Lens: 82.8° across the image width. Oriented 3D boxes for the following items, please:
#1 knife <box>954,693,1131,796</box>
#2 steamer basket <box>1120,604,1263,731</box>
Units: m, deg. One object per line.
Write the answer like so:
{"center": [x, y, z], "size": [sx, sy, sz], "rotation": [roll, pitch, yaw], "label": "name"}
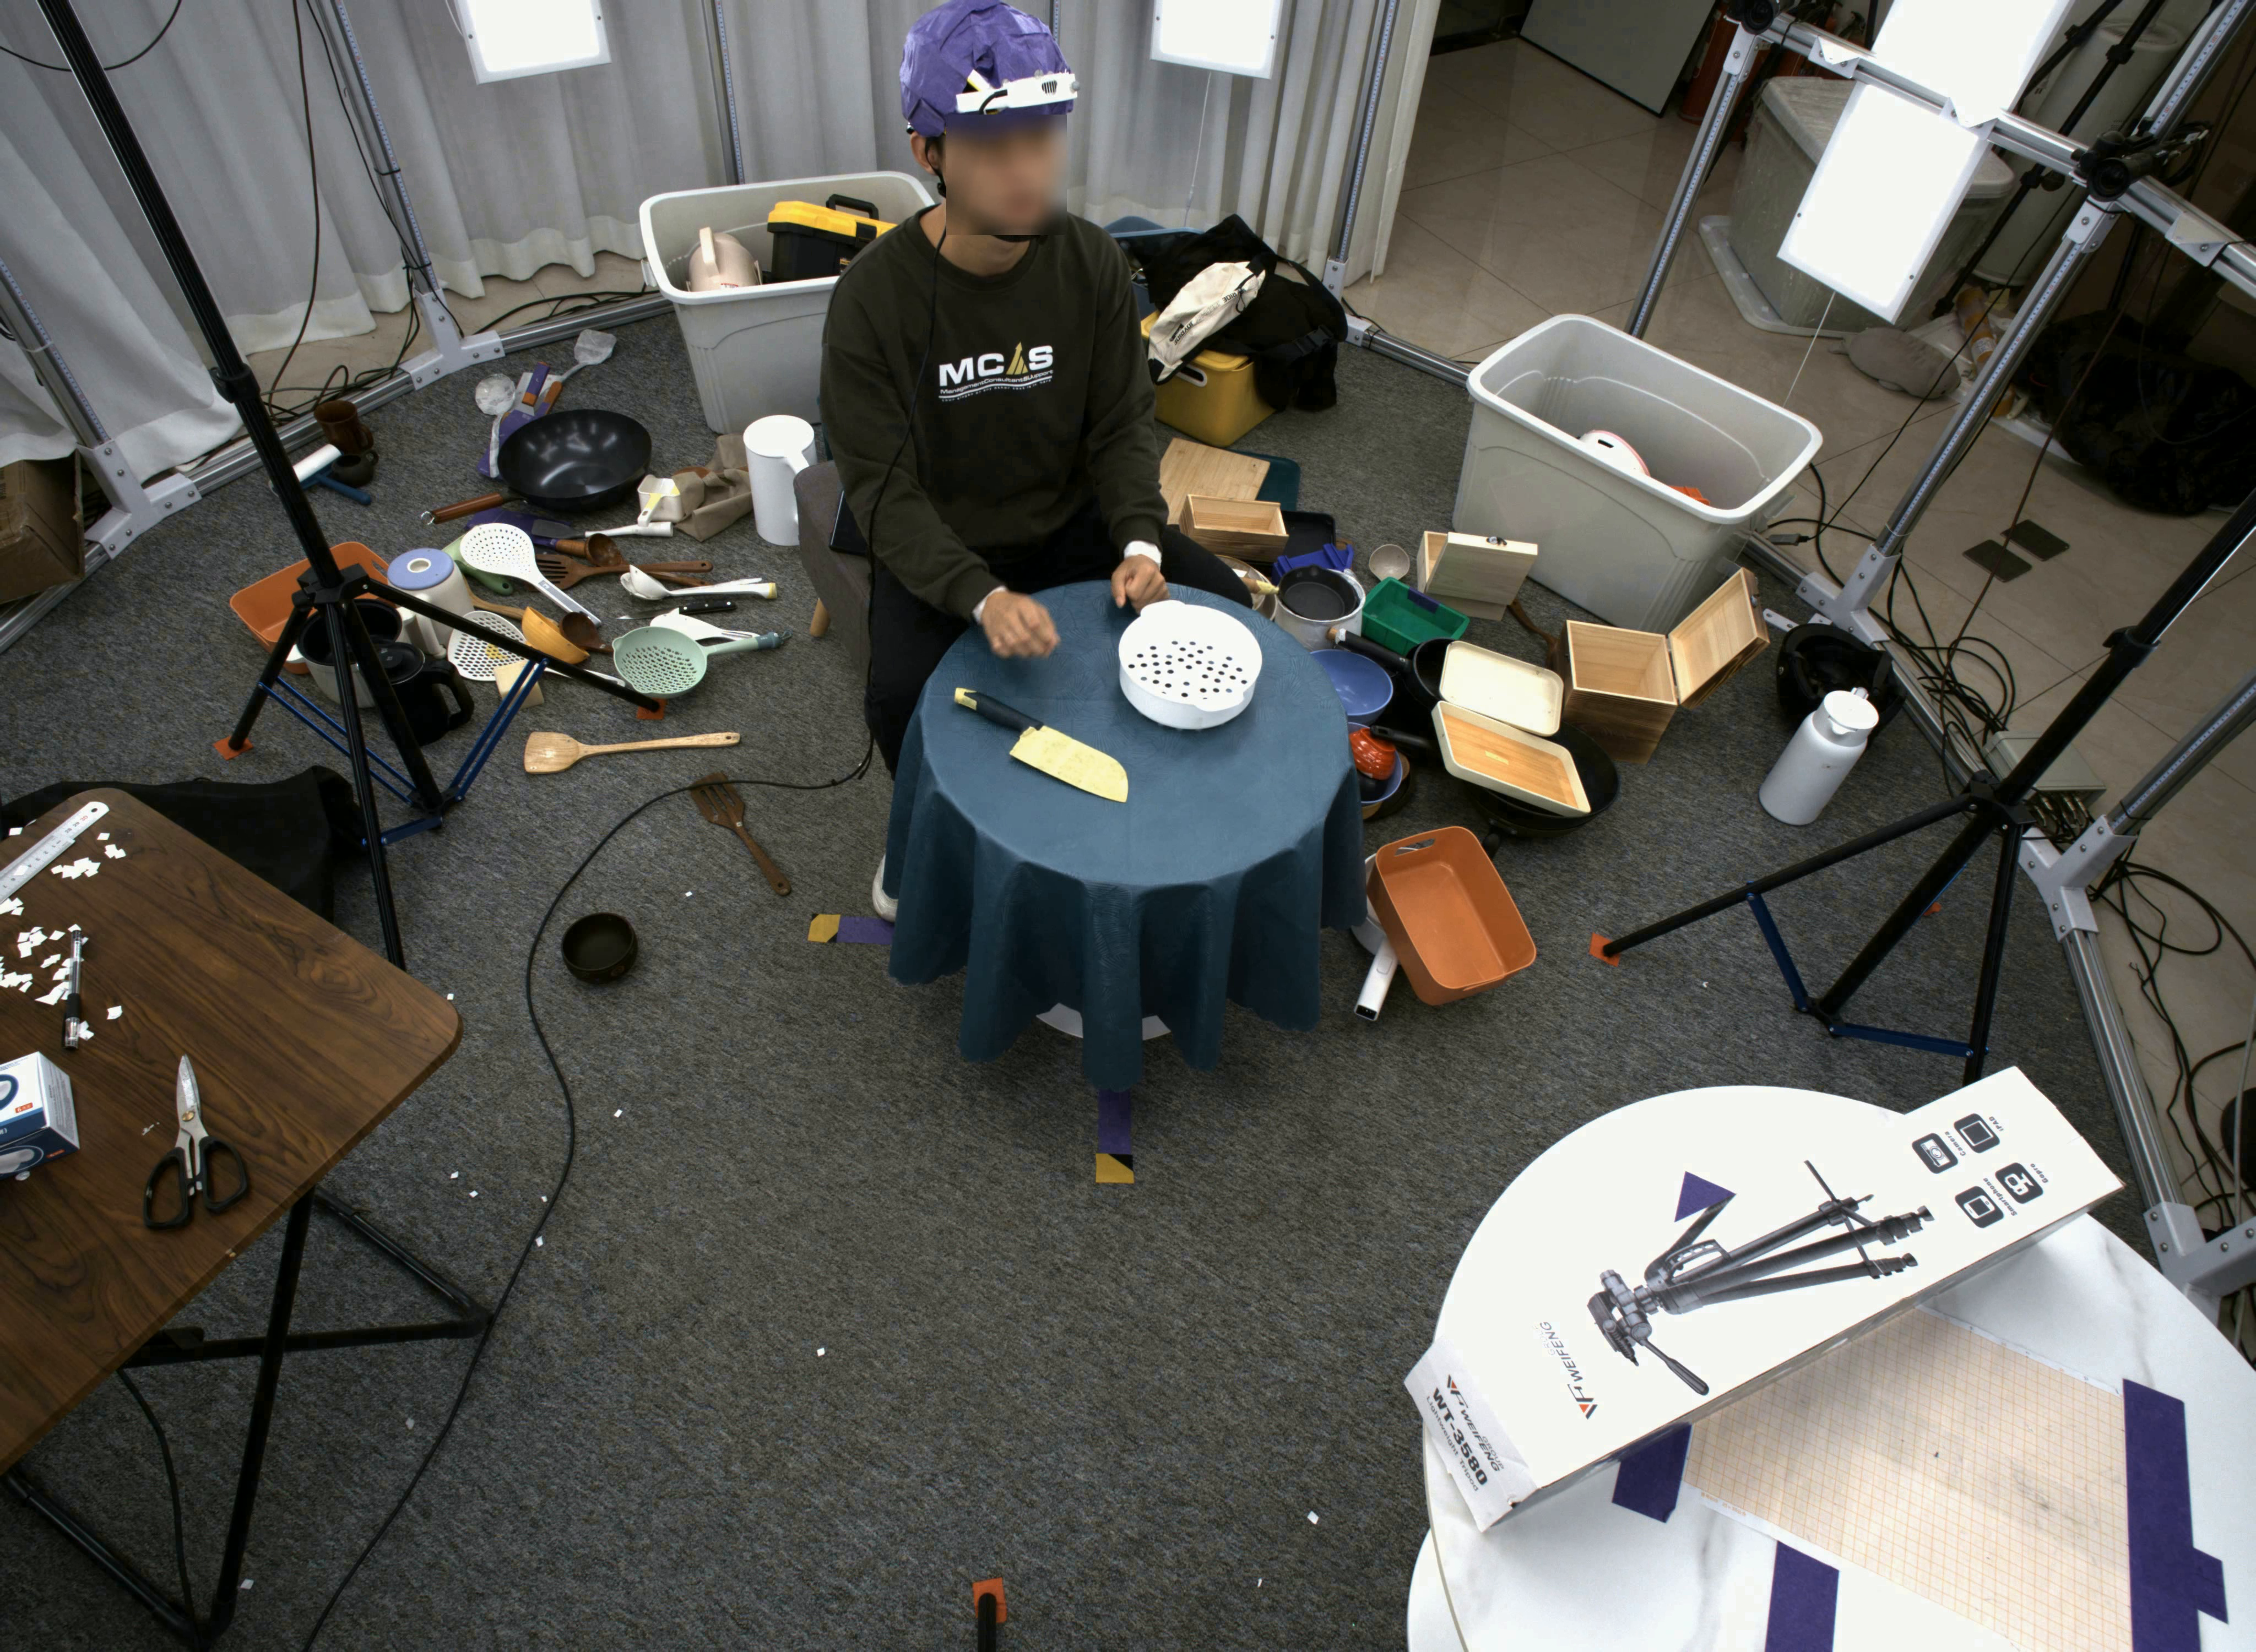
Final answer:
{"center": [-0.122, -0.110, 1.745], "size": [0.292, 0.026, 0.082], "rotation": [27, 50, 17], "label": "knife"}
{"center": [0.088, -0.221, 1.822], "size": [0.202, 0.067, 0.236], "rotation": [-14, 50, -17], "label": "steamer basket"}
